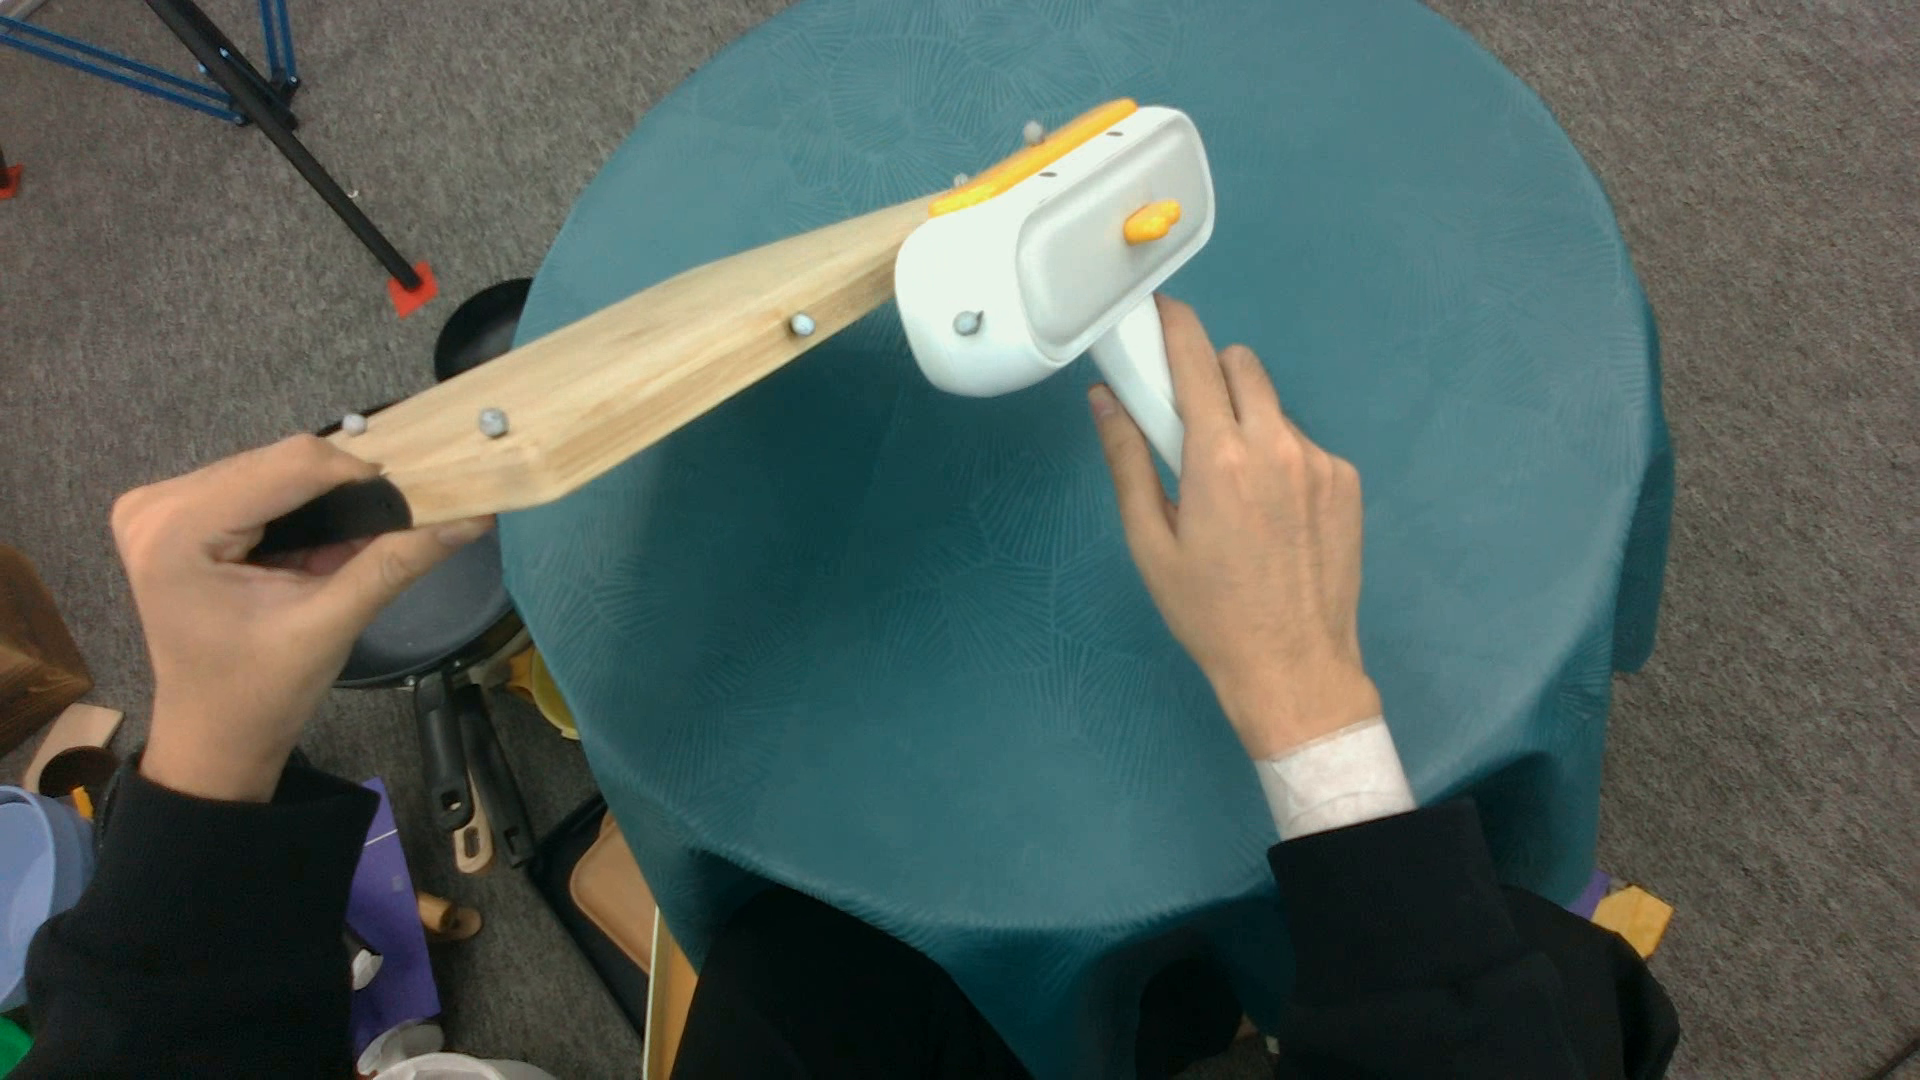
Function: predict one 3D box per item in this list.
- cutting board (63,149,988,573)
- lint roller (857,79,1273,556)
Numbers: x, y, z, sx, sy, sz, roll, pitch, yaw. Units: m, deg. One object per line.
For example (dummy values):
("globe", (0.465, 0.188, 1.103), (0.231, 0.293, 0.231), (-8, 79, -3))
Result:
("cutting board", (-0.143, -0.085, 0.567), (0.250, 0.023, 0.350), (-8, 23, 33))
("lint roller", (0.059, -0.073, 0.539), (0.074, 0.192, 0.194), (-16, 23, 34))
